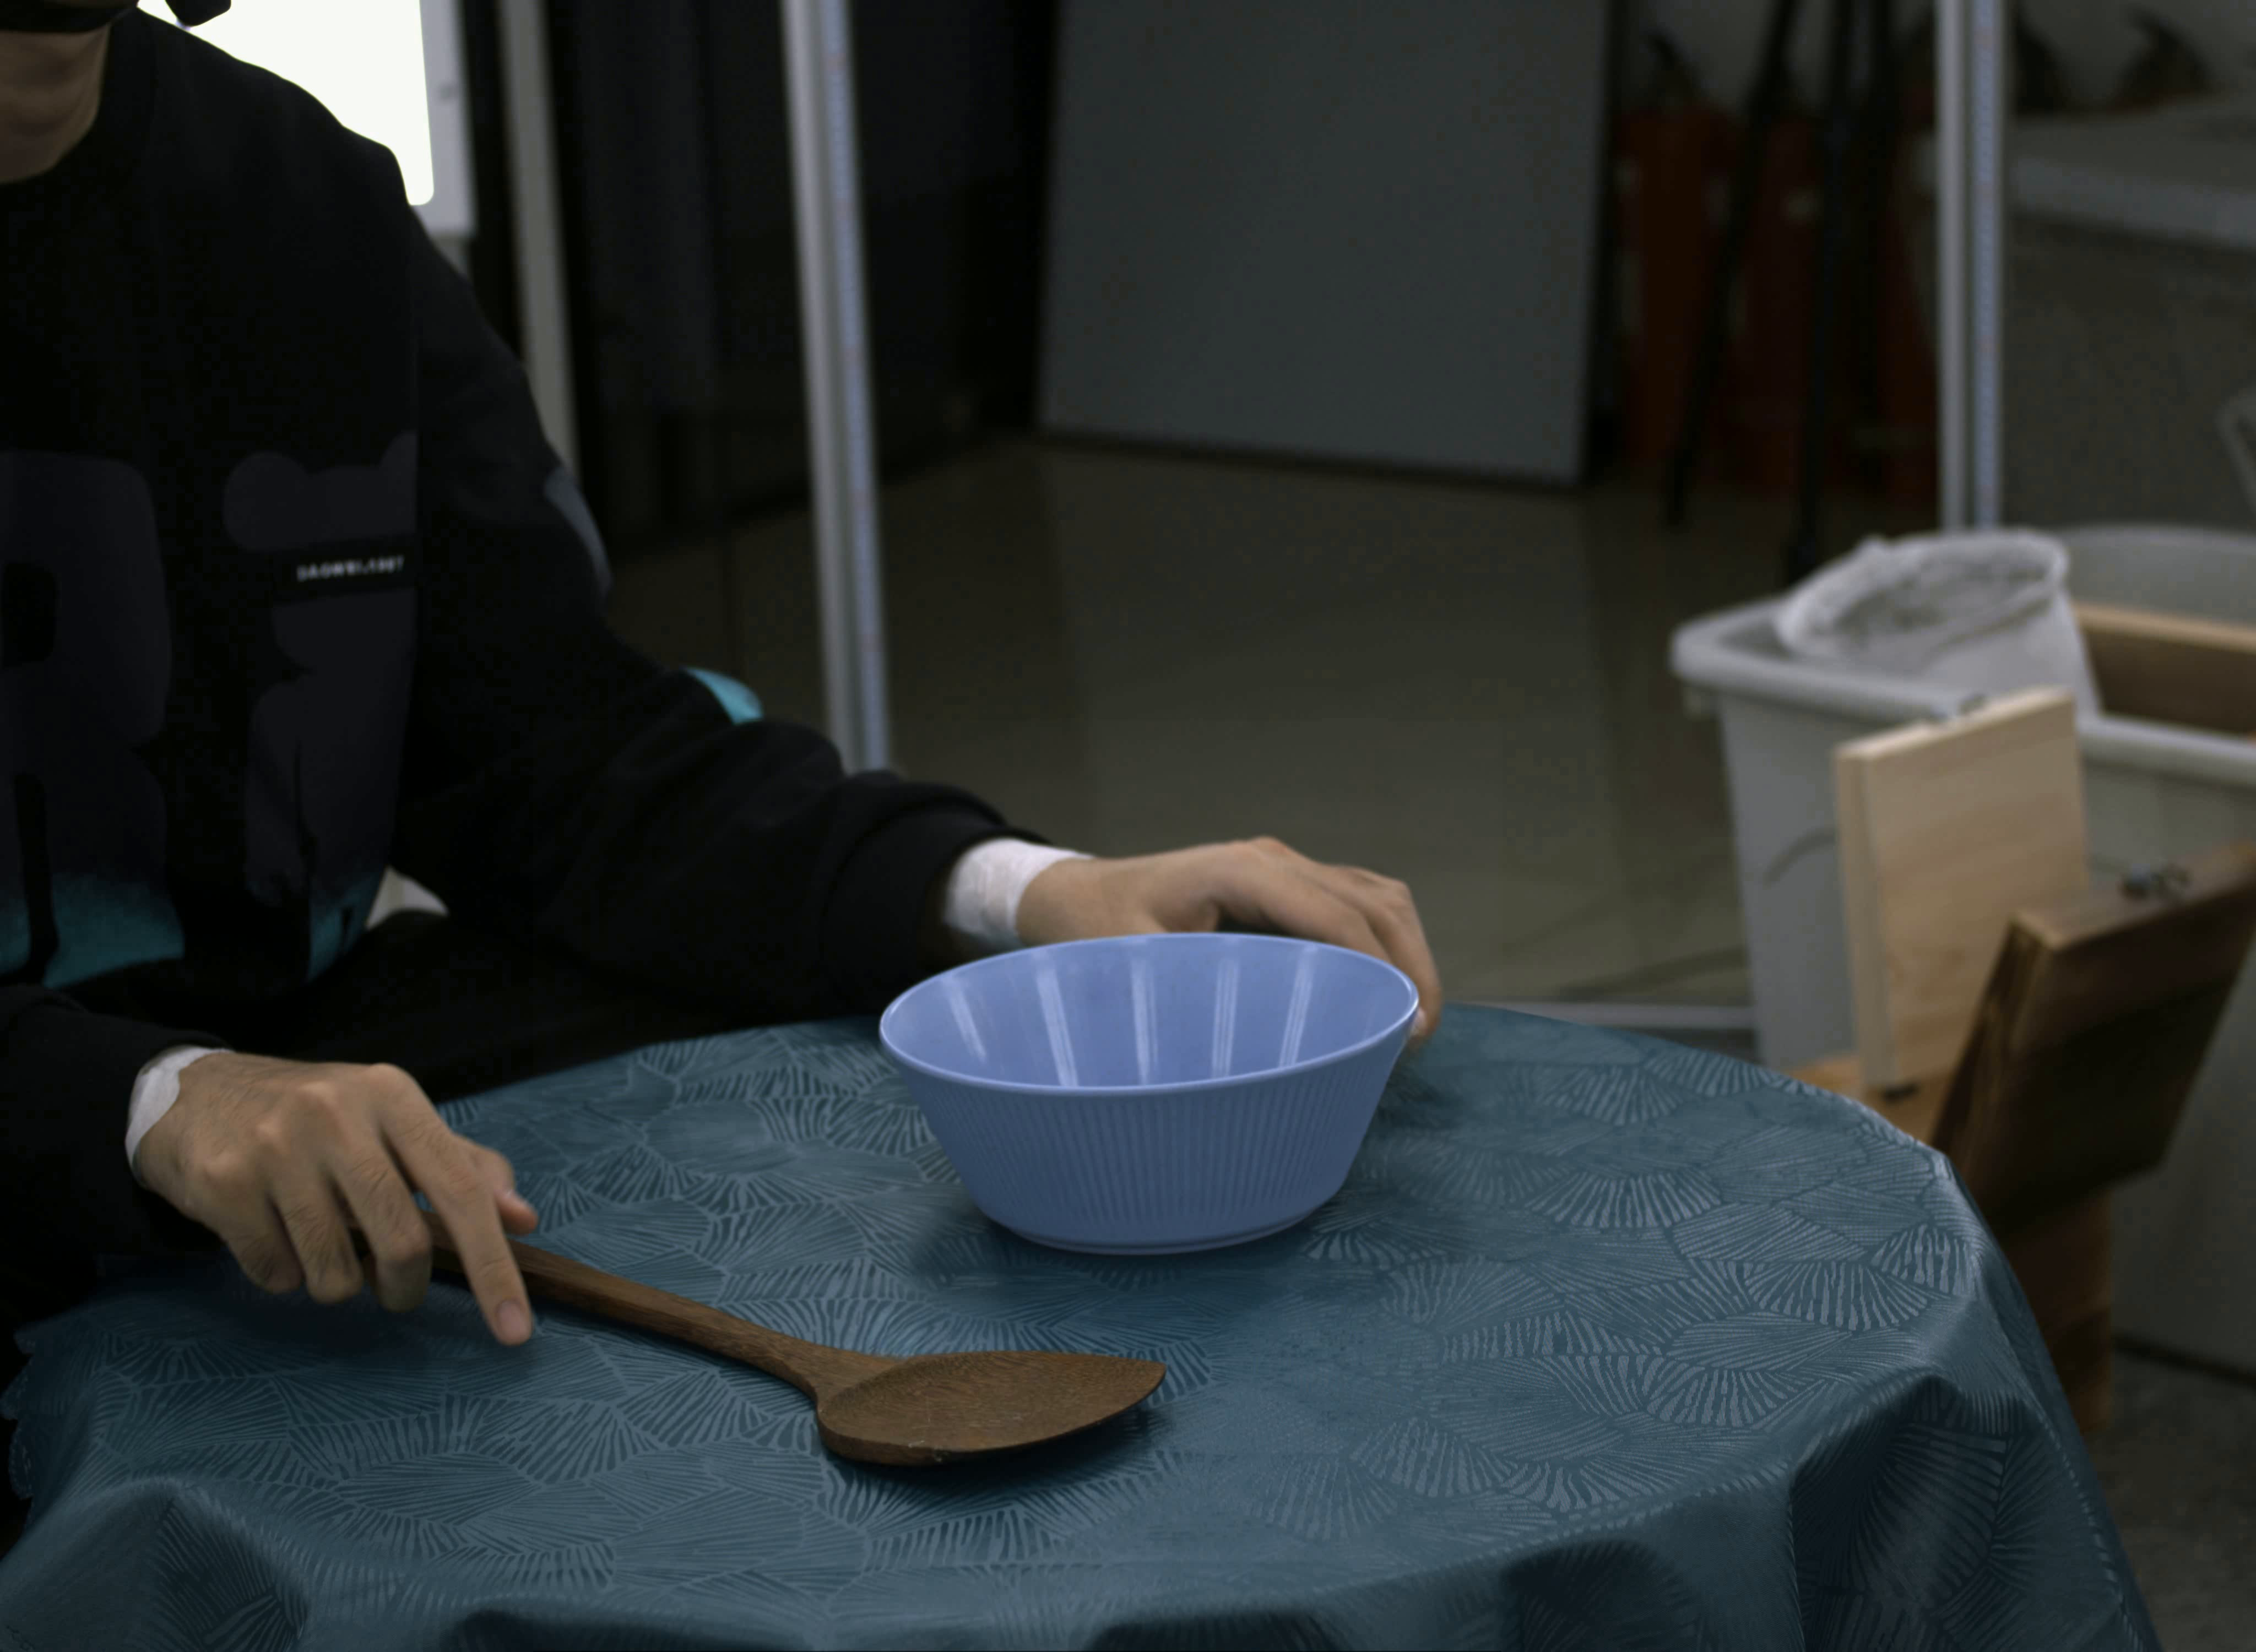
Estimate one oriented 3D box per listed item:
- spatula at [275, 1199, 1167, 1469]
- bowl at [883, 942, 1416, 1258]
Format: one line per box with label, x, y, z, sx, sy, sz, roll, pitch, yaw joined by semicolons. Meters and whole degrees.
spatula;-0.145;0.151;1.665;0.094;0.016;0.389;-16;18;-42
bowl;0.009;0.091;1.747;0.174;0.071;0.176;-5;12;0
